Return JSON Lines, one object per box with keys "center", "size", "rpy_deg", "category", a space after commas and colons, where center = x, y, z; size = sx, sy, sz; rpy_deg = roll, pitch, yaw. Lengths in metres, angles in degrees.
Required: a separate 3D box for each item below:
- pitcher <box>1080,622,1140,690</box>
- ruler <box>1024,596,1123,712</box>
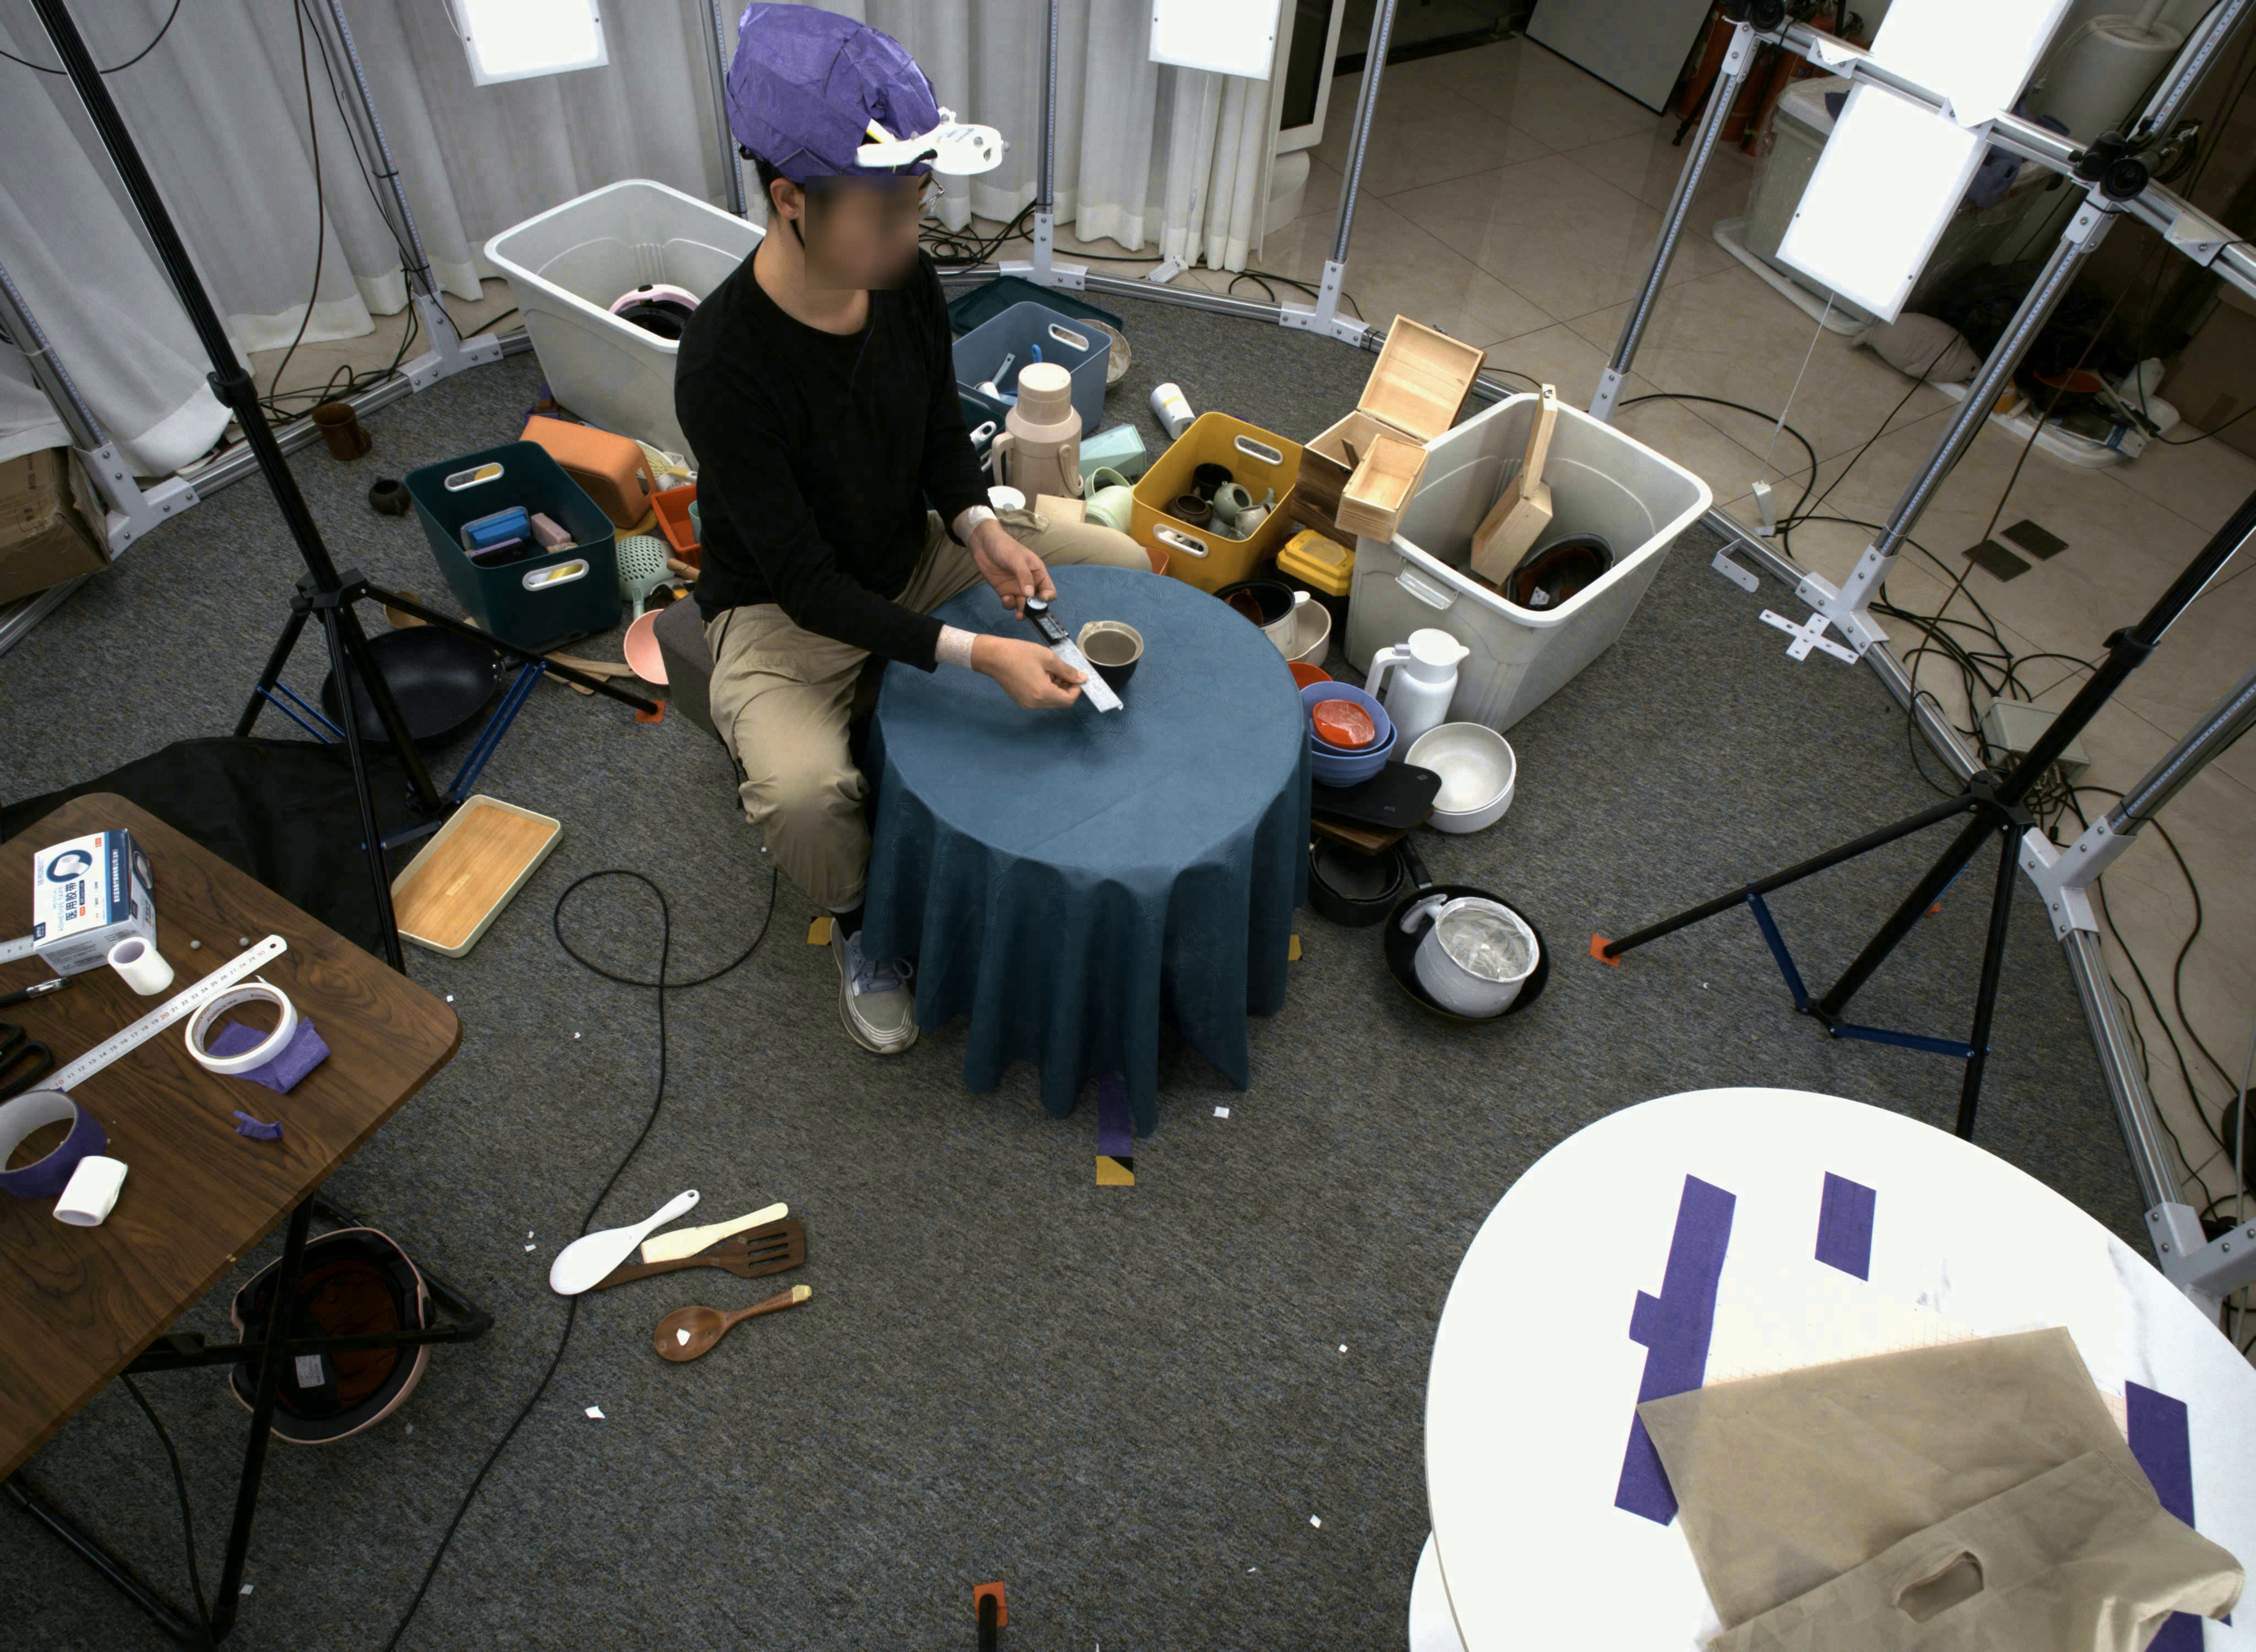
{"center": [-0.030, -0.238, 1.827], "size": [0.084, 0.069, 0.097], "rpy_deg": [-31, 59, -26], "category": "pitcher"}
{"center": [-0.079, -0.240, 1.766], "size": [0.038, 0.023, 0.222], "rpy_deg": [-24, 57, -22], "category": "ruler"}
